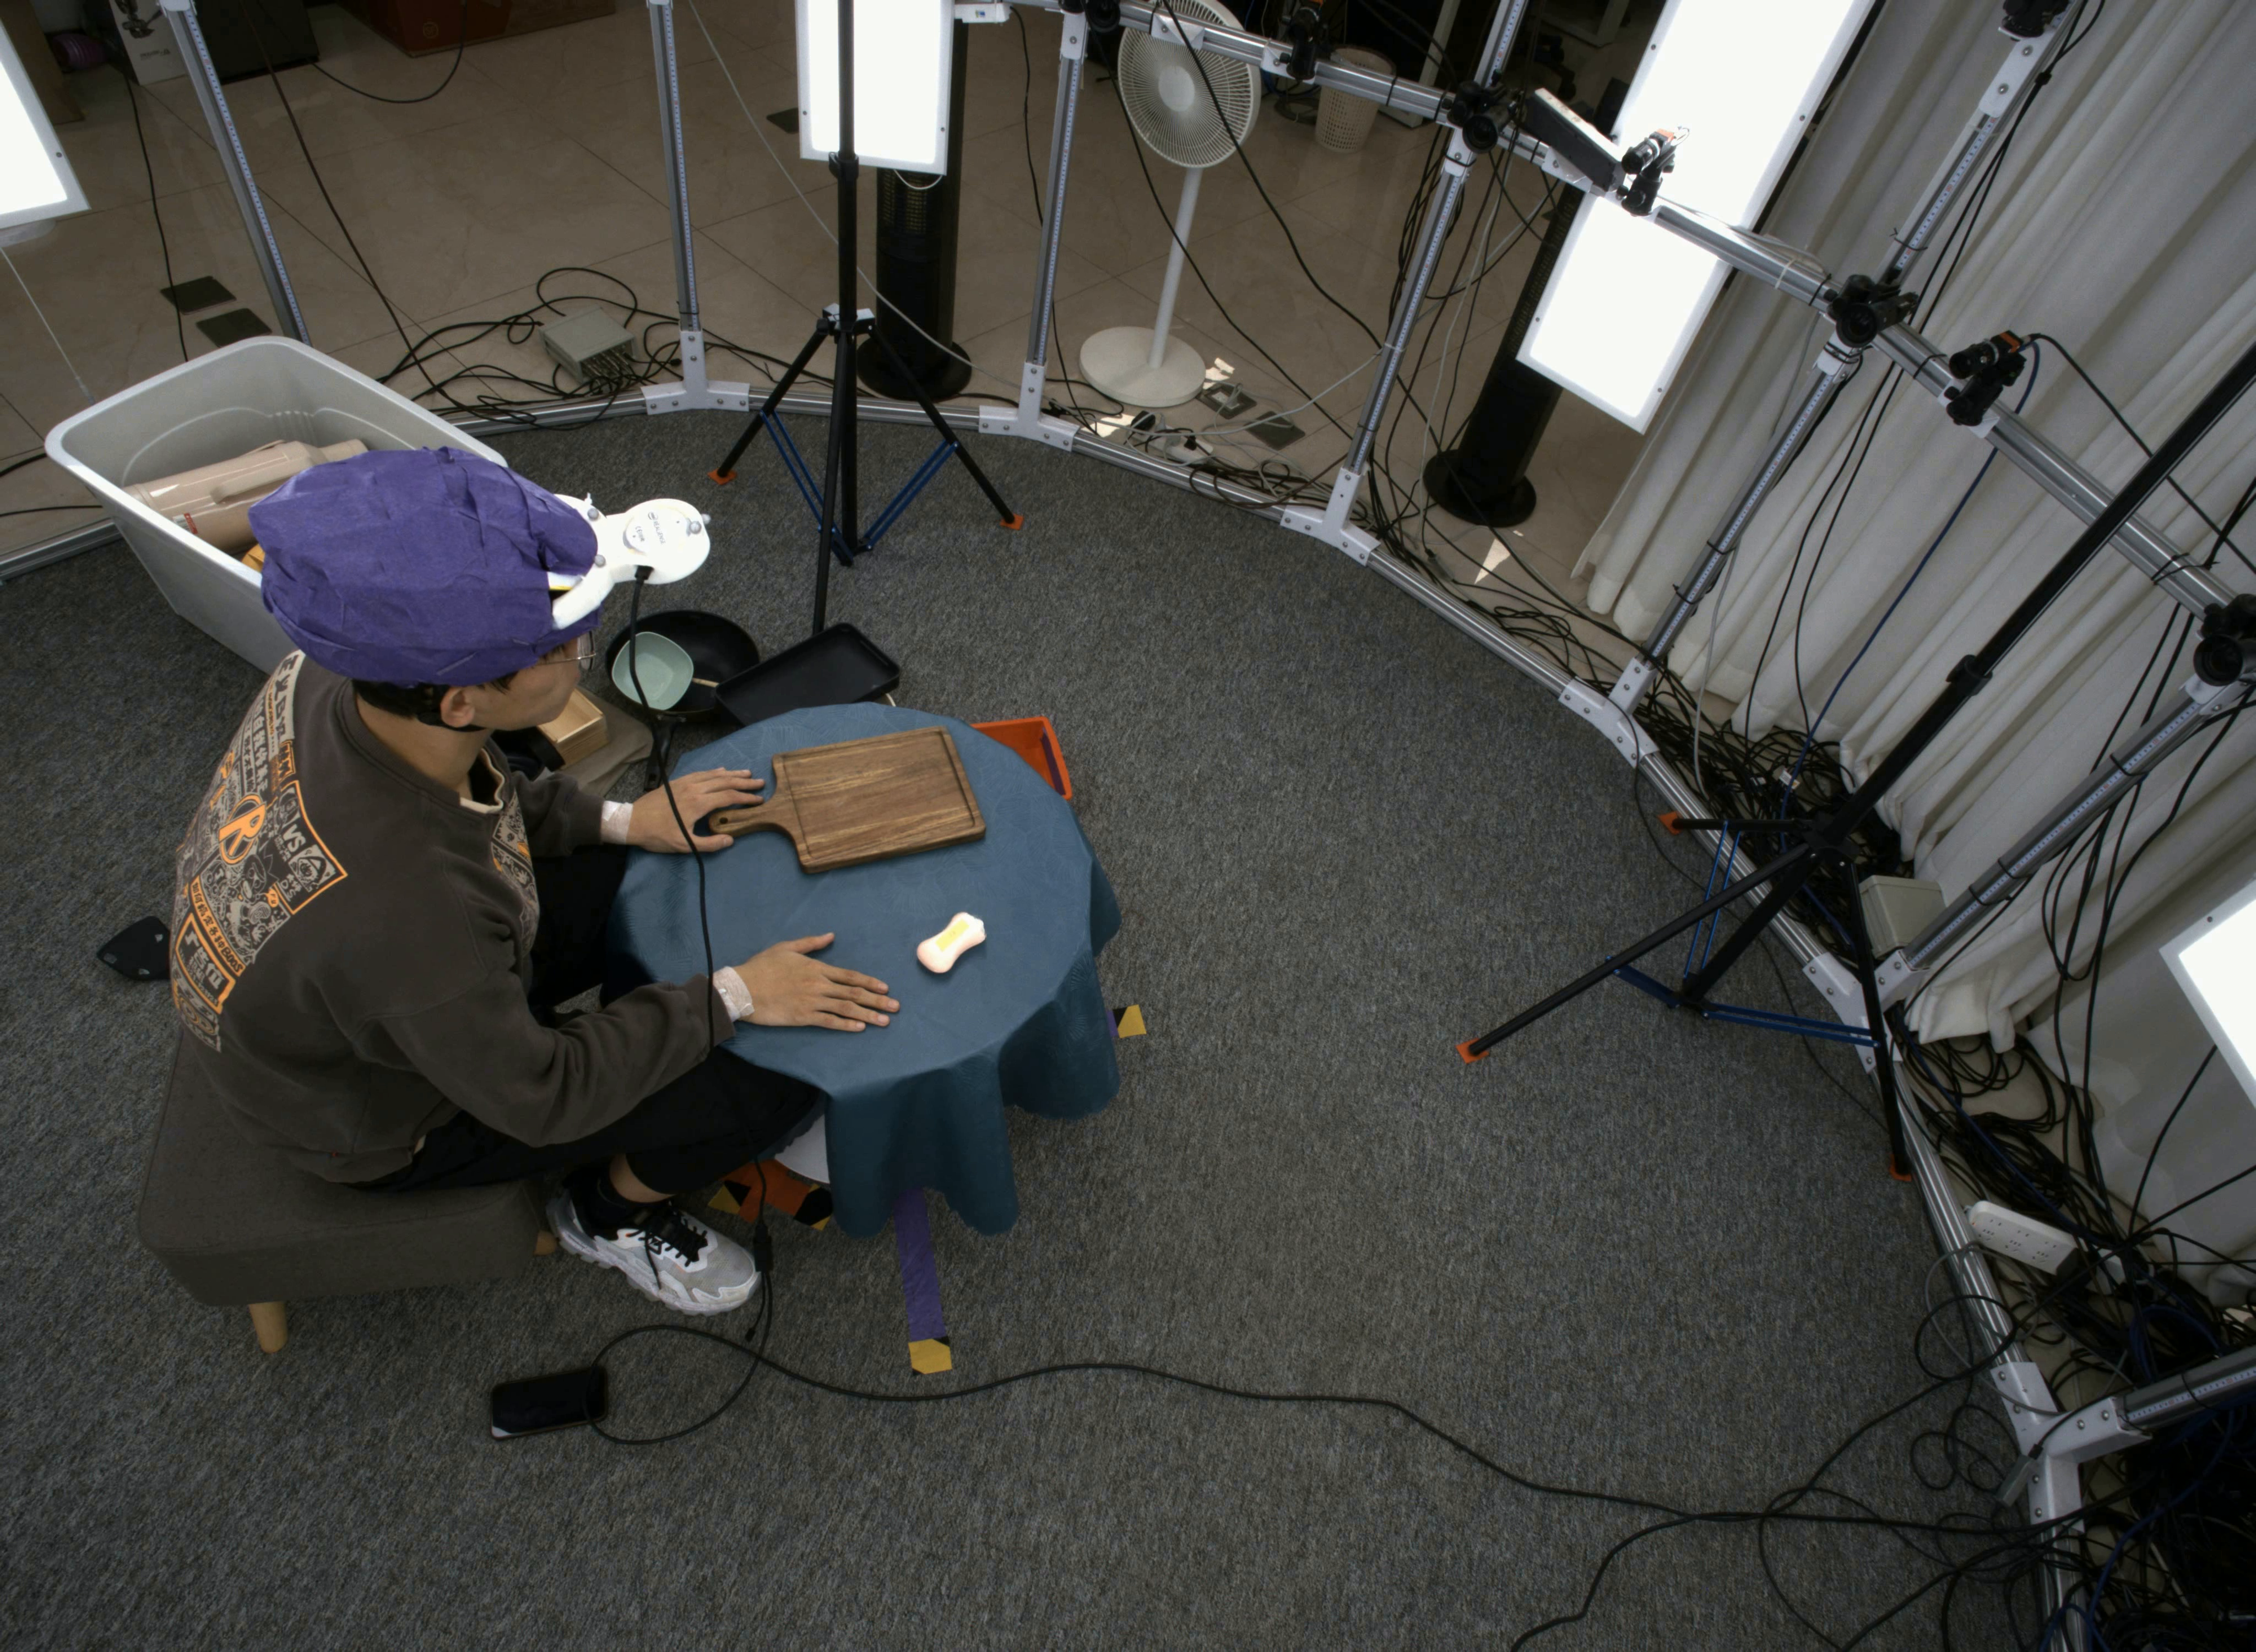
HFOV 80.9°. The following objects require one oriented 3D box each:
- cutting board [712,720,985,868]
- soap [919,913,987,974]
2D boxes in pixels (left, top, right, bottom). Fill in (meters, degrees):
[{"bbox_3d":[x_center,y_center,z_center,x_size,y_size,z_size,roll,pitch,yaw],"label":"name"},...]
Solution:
[{"bbox_3d":[-0.386,-0.040,1.764,0.353,0.023,0.196,-11,58,-21],"label":"cutting board"},{"bbox_3d":[-0.223,0.147,1.662,0.049,0.031,0.094,38,57,17],"label":"soap"}]
